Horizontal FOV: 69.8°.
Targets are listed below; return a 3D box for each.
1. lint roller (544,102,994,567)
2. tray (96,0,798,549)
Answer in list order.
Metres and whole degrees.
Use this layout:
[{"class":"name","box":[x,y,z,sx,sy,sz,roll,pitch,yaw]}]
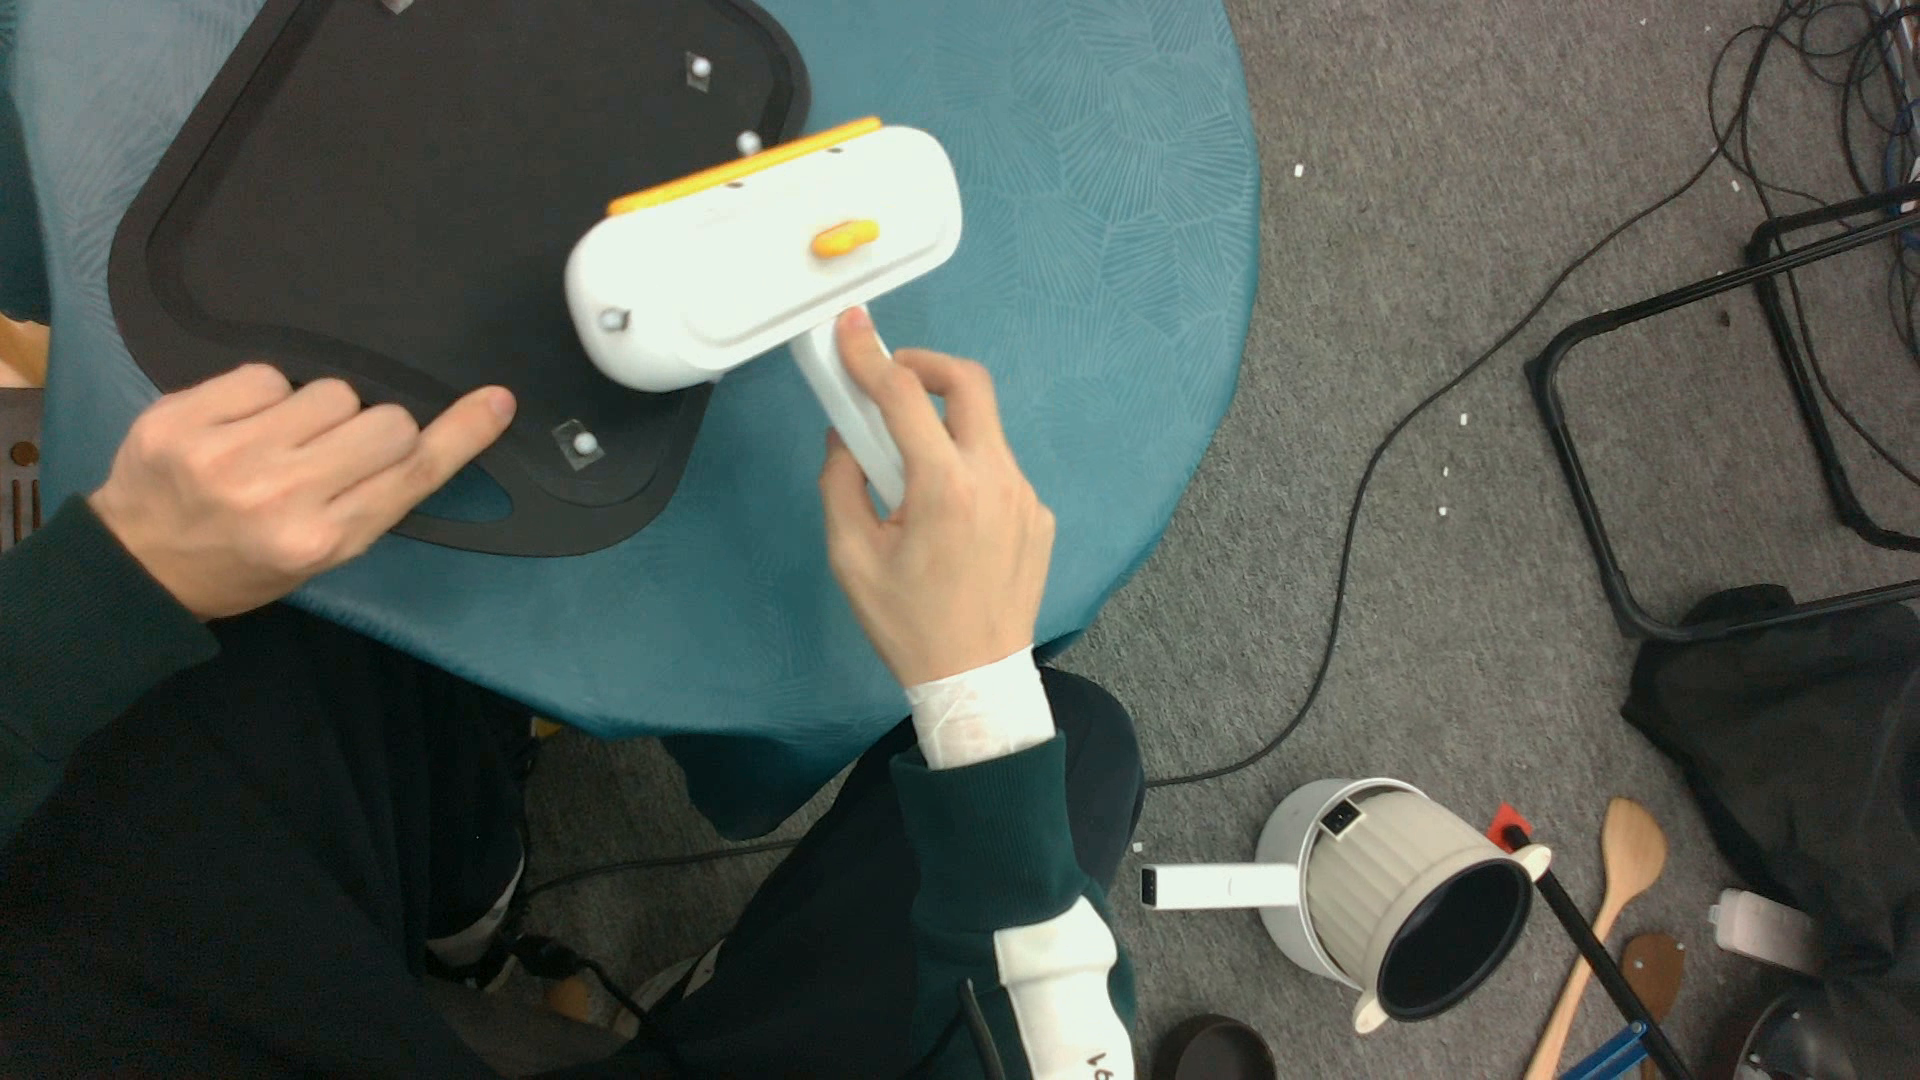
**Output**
[{"class":"lint roller","box":[-0.051,-0.071,0.564,0.194,0.074,0.192,-46,116,-47]},{"class":"tray","box":[-0.185,-0.151,0.558,0.211,0.010,0.327,26,58,-24]}]
